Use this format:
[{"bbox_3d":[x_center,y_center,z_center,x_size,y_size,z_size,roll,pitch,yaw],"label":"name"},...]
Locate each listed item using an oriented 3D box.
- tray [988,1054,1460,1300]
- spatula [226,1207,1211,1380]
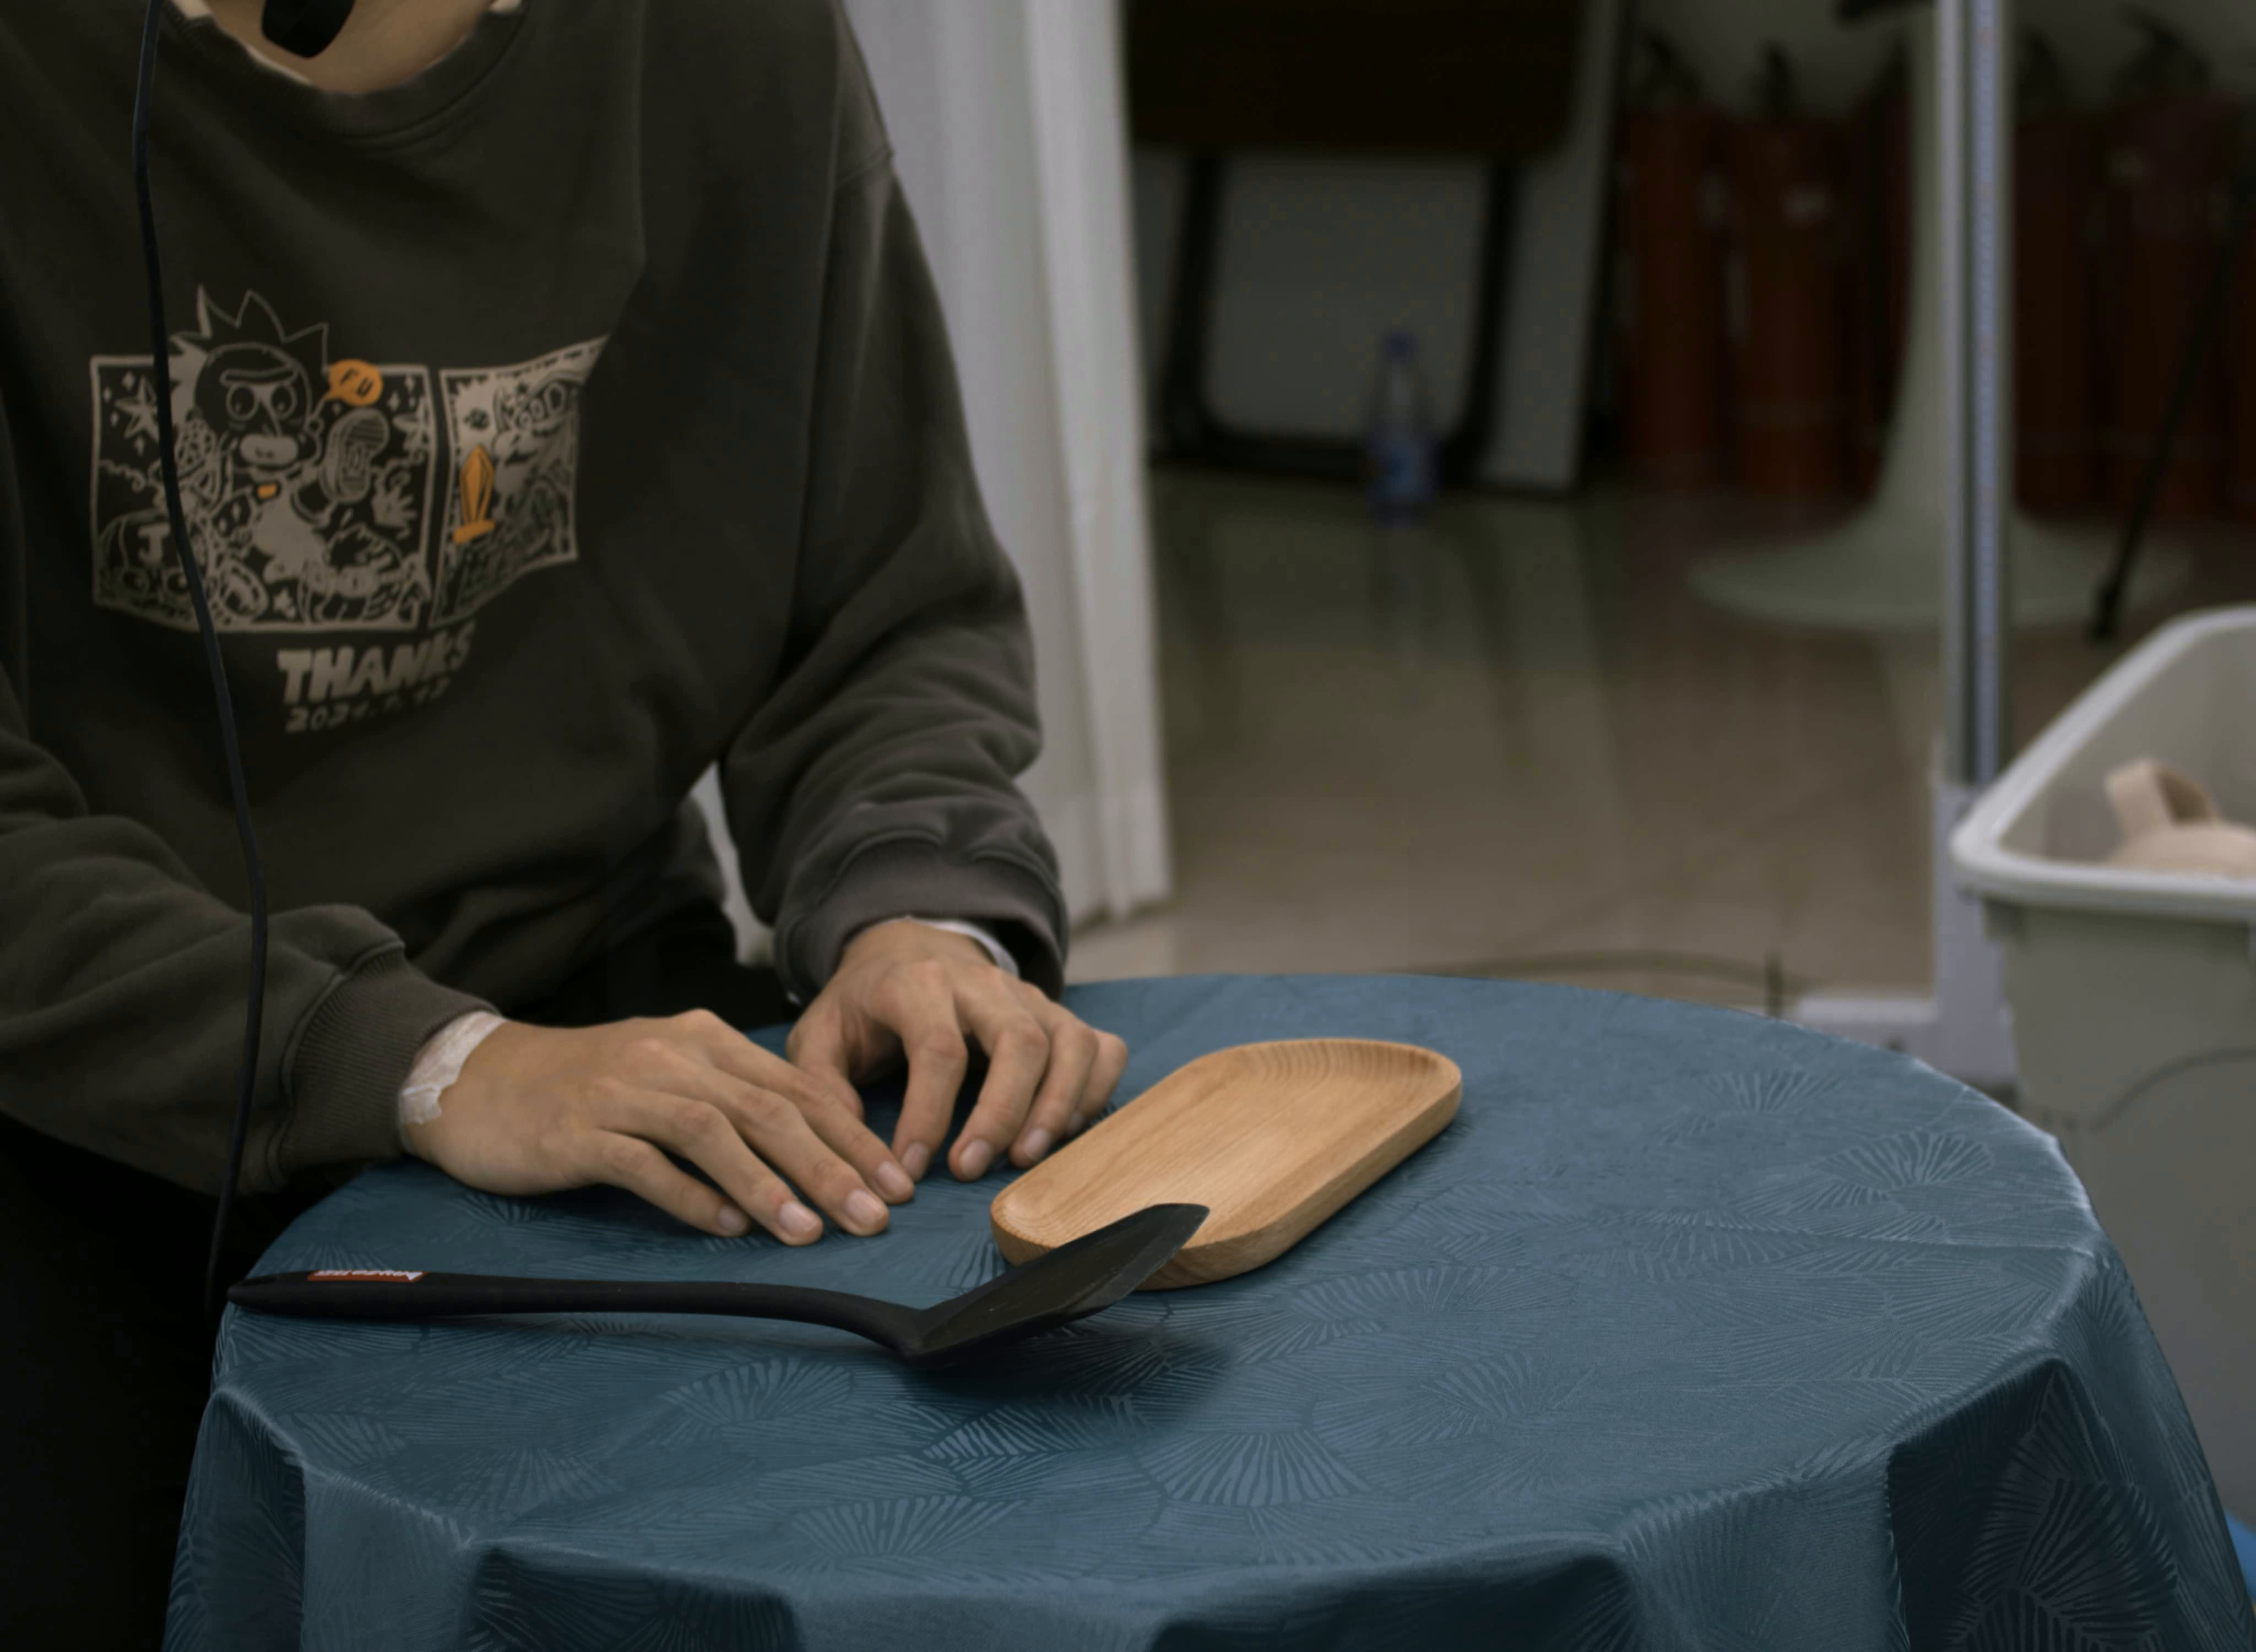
[{"bbox_3d":[0.034,0.113,1.768,0.102,0.020,0.228,2,16,27],"label":"tray"},{"bbox_3d":[-0.134,0.141,1.657,0.326,0.041,0.098,1,13,22],"label":"spatula"}]
